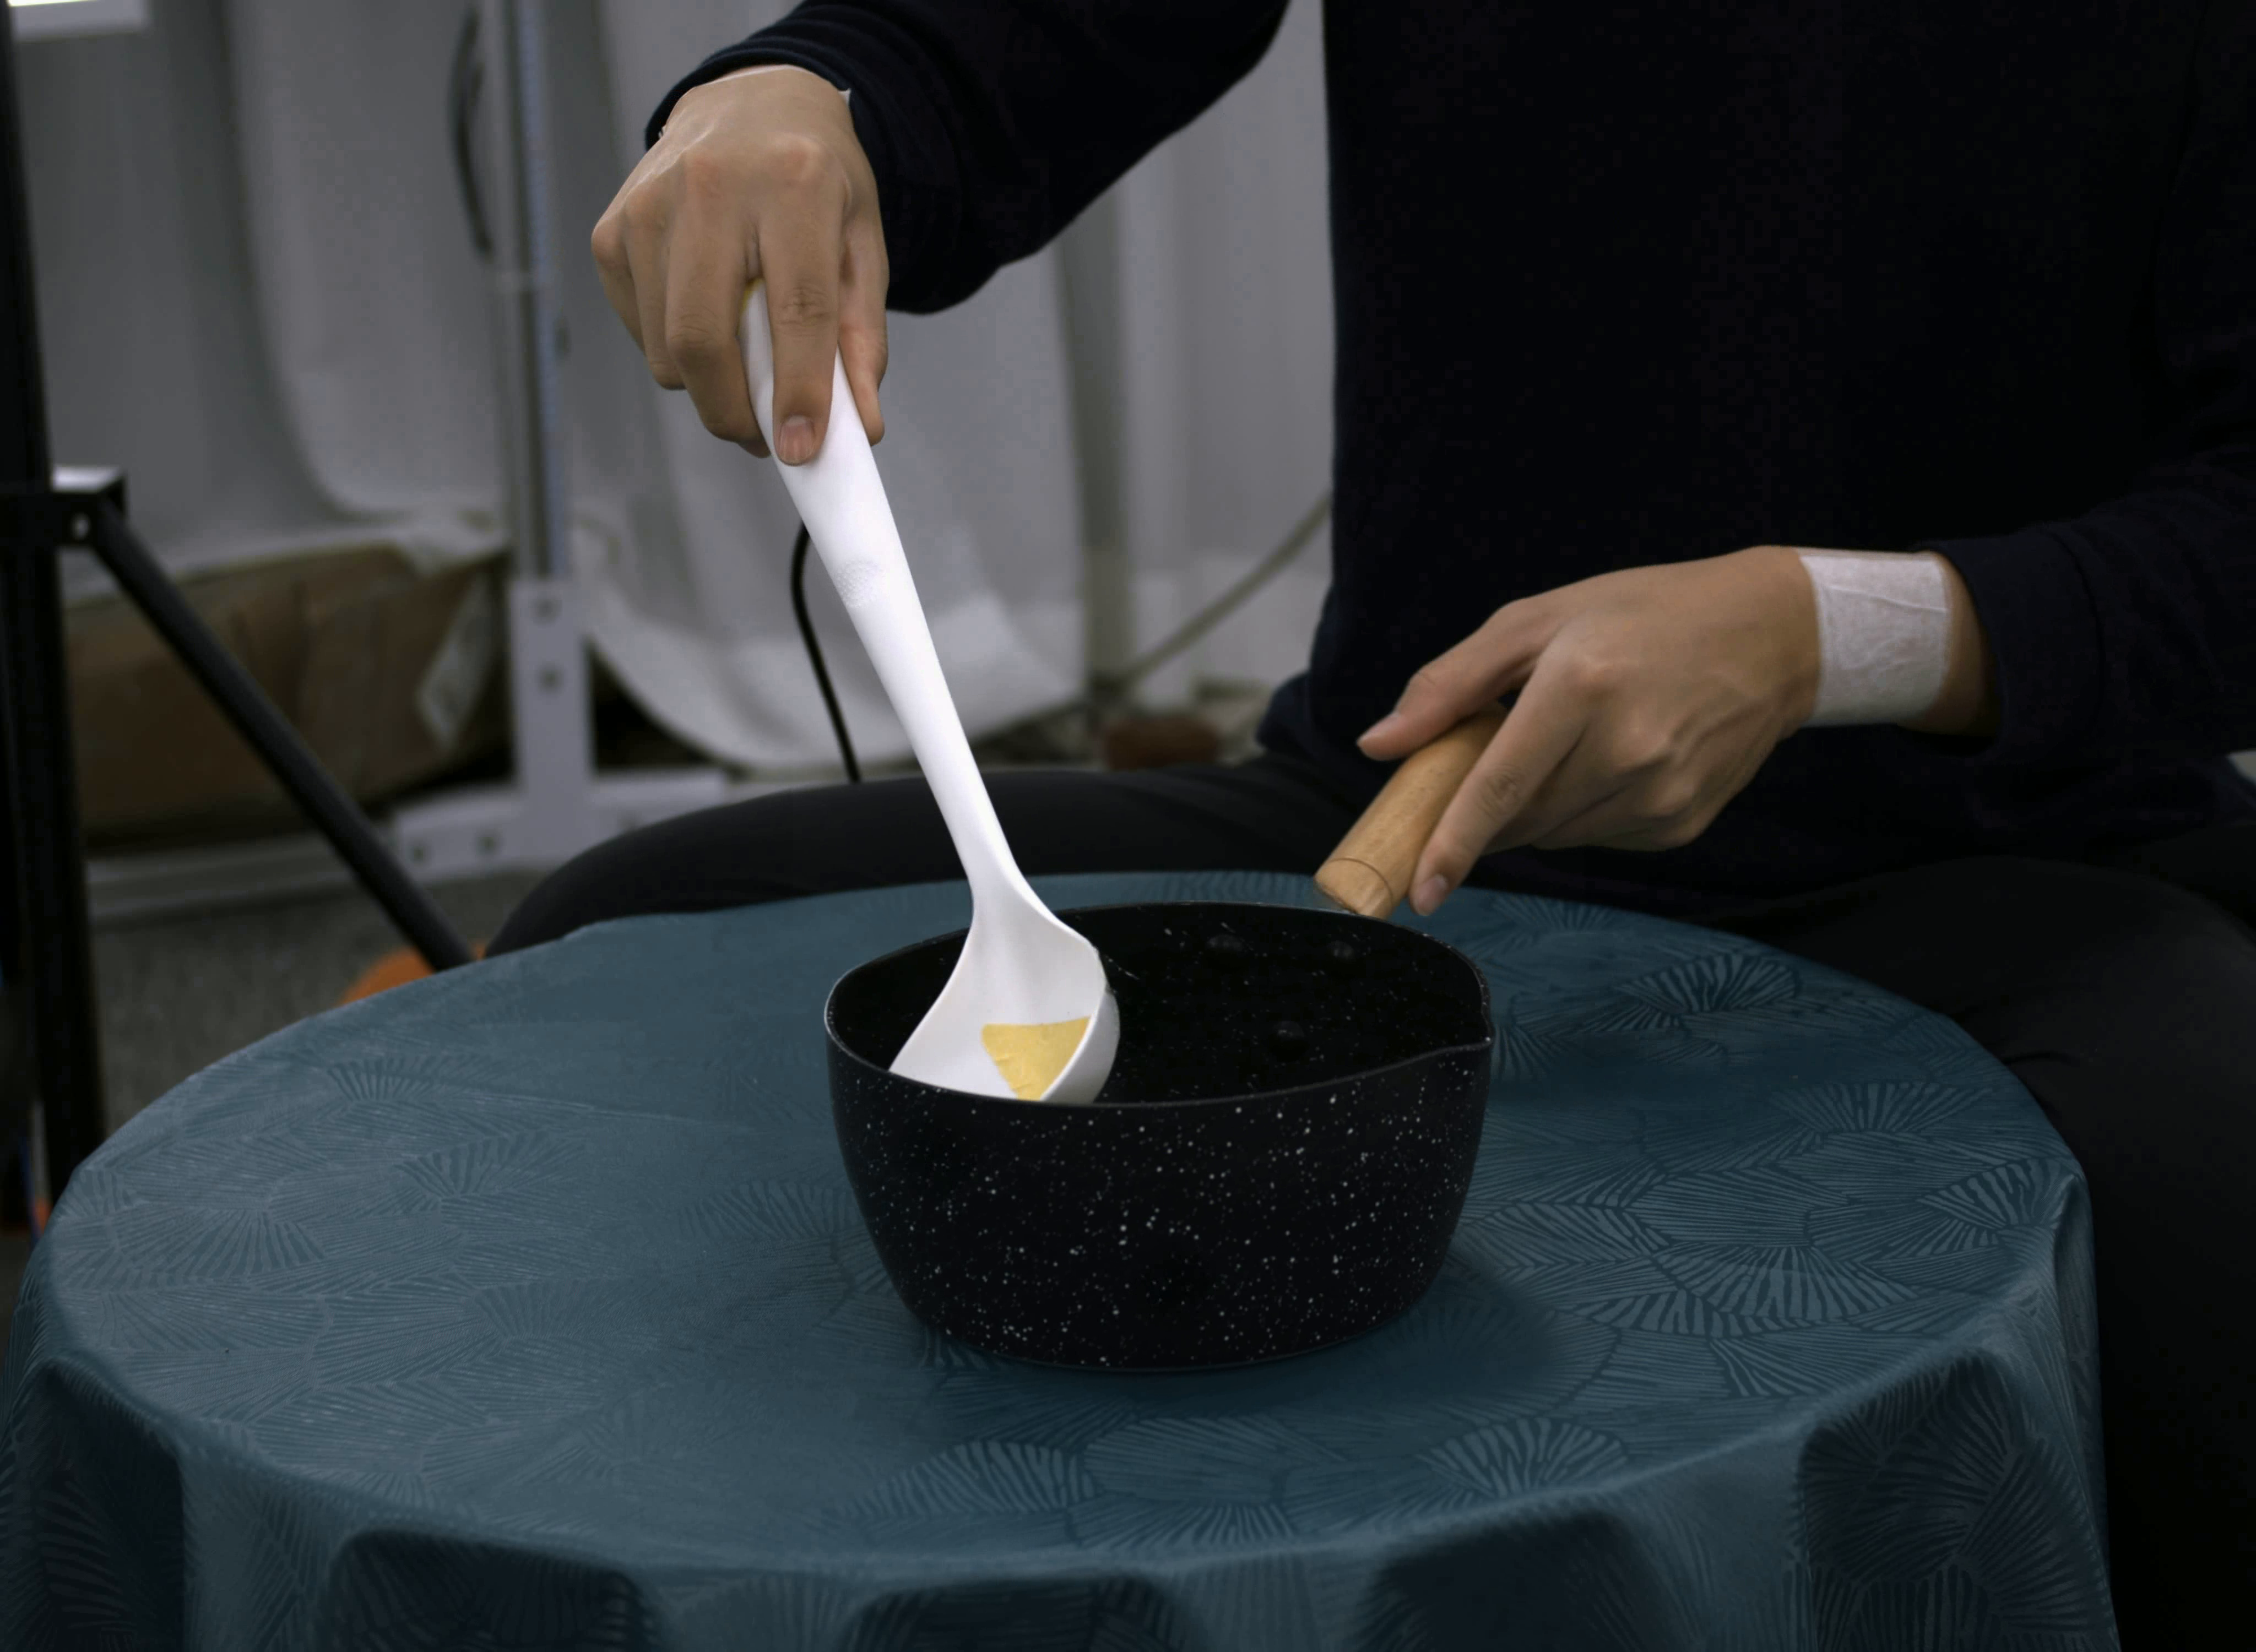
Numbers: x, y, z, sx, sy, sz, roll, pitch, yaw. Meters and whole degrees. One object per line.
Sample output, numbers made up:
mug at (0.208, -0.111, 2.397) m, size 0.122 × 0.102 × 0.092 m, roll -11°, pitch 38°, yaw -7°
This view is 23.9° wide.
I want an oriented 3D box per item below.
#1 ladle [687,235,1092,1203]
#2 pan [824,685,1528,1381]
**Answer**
ladle at (-0.078, -0.035, 1.487) m, size 0.068 × 0.297 × 0.091 m, roll 0°, pitch -29°, yaw -44°
pan at (0.043, 0.055, 1.540) m, size 0.210 × 0.108 × 0.338 m, roll 3°, pitch 18°, yaw 26°
